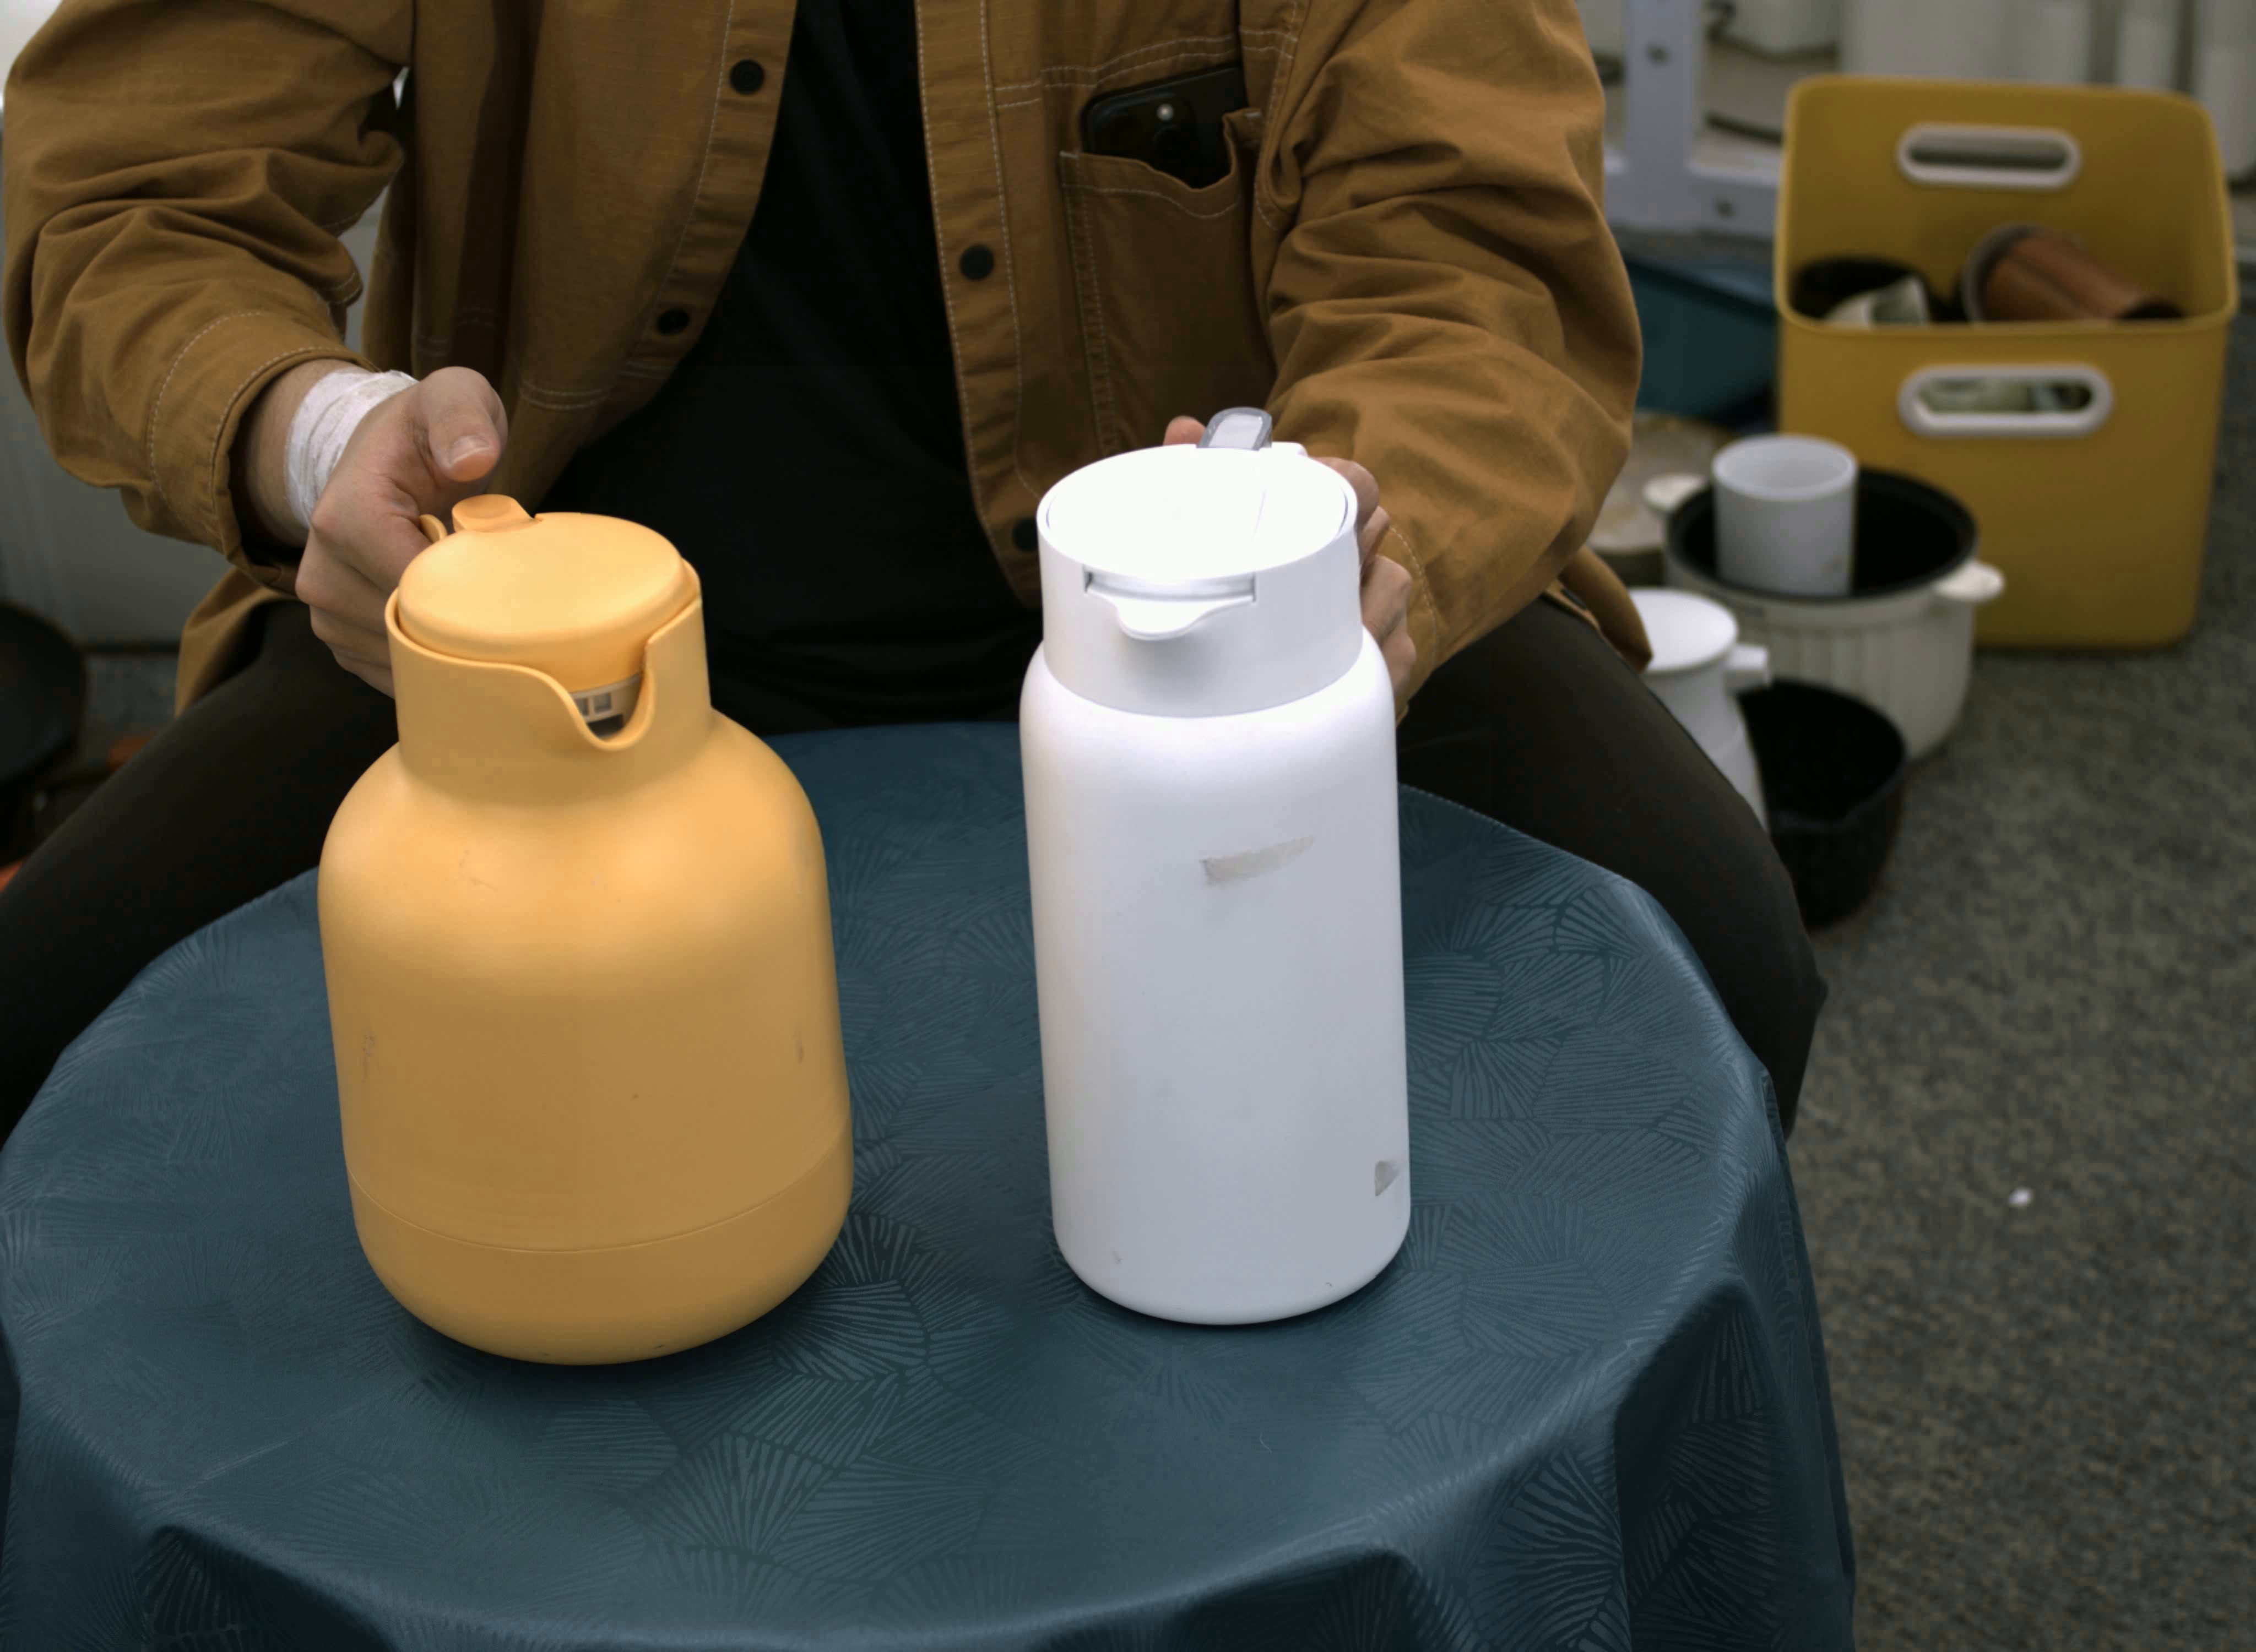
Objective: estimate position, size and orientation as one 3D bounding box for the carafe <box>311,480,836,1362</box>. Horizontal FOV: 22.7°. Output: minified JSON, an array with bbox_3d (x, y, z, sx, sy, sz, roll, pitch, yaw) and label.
[{"bbox_3d":[-0.181,0.020,1.789,0.164,0.257,0.204,-9,28,-19],"label":"carafe"}]

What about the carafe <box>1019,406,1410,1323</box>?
[{"bbox_3d":[0.030,0.009,1.787,0.123,0.266,0.176,1,26,13],"label":"carafe"}]
